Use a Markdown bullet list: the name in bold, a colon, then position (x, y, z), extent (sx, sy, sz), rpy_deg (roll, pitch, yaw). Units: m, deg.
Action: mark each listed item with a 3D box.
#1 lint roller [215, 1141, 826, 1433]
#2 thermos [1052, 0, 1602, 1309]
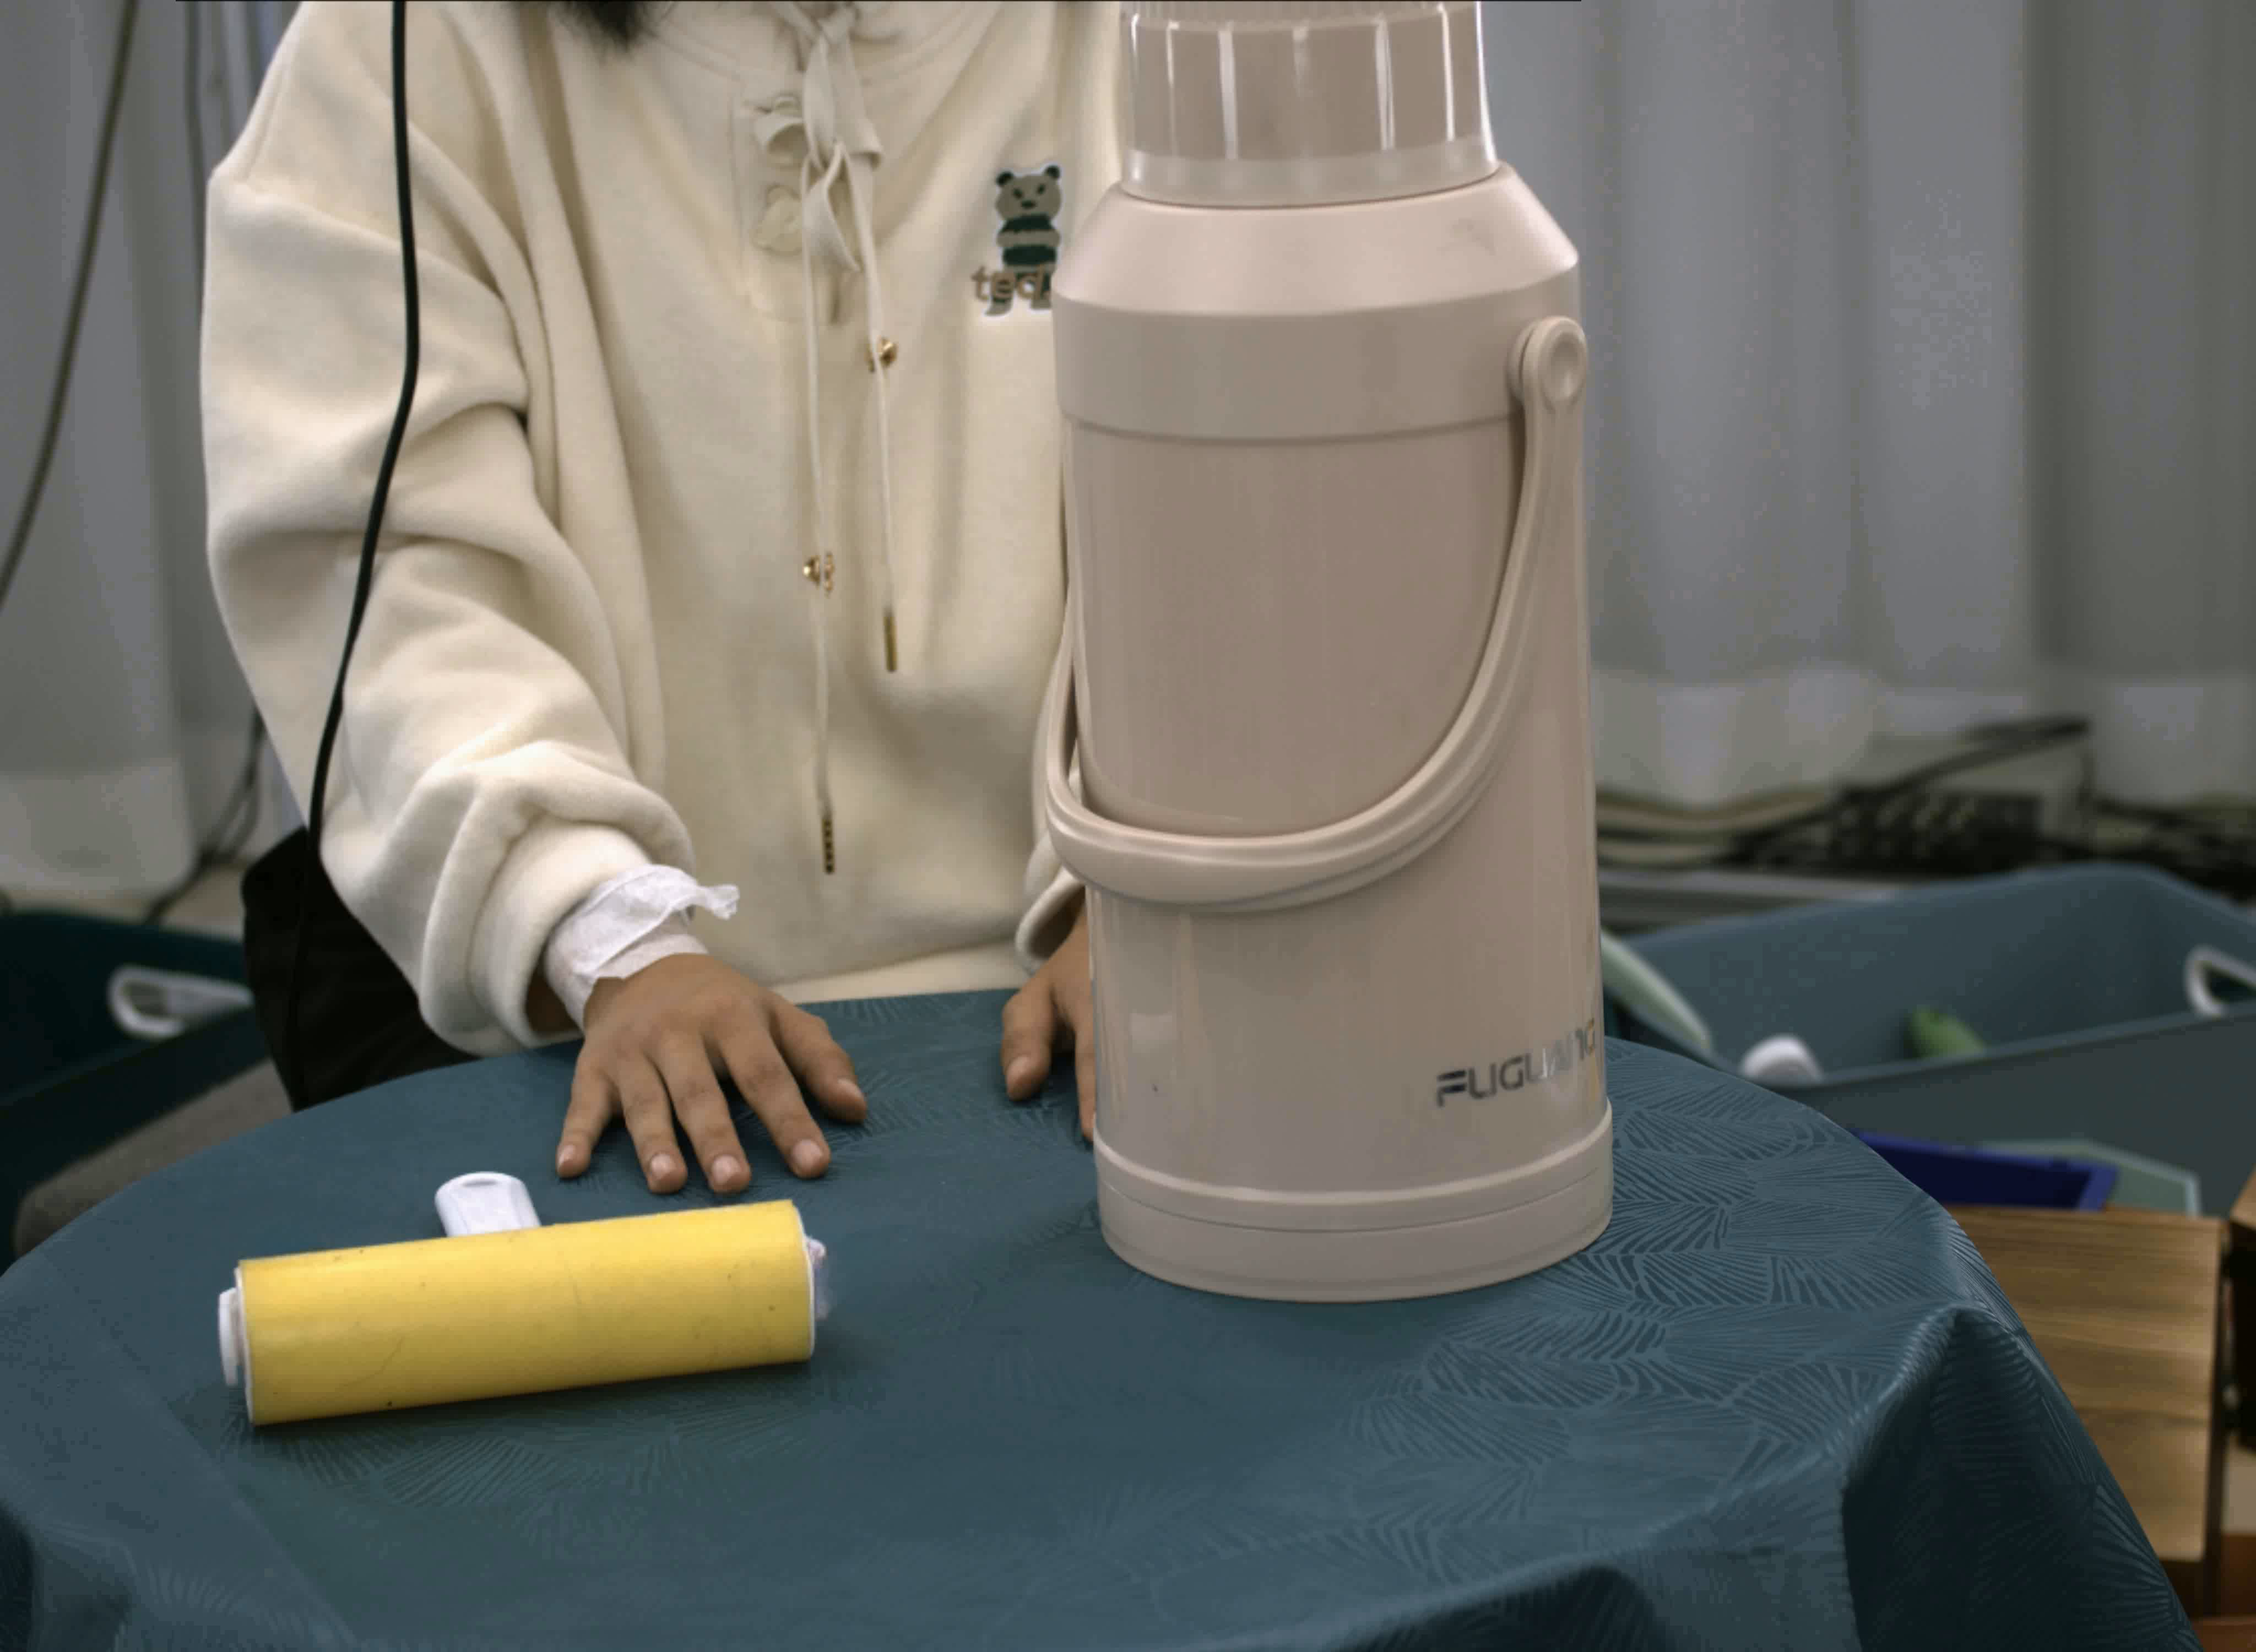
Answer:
- **lint roller**: position (-0.189, 0.119, 1.630), extent (0.173, 0.051, 0.194), rpy_deg (-6, 22, -11)
- **thermos**: position (0.069, -0.073, 1.643), extent (0.176, 0.405, 0.207), rpy_deg (7, 16, 38)
